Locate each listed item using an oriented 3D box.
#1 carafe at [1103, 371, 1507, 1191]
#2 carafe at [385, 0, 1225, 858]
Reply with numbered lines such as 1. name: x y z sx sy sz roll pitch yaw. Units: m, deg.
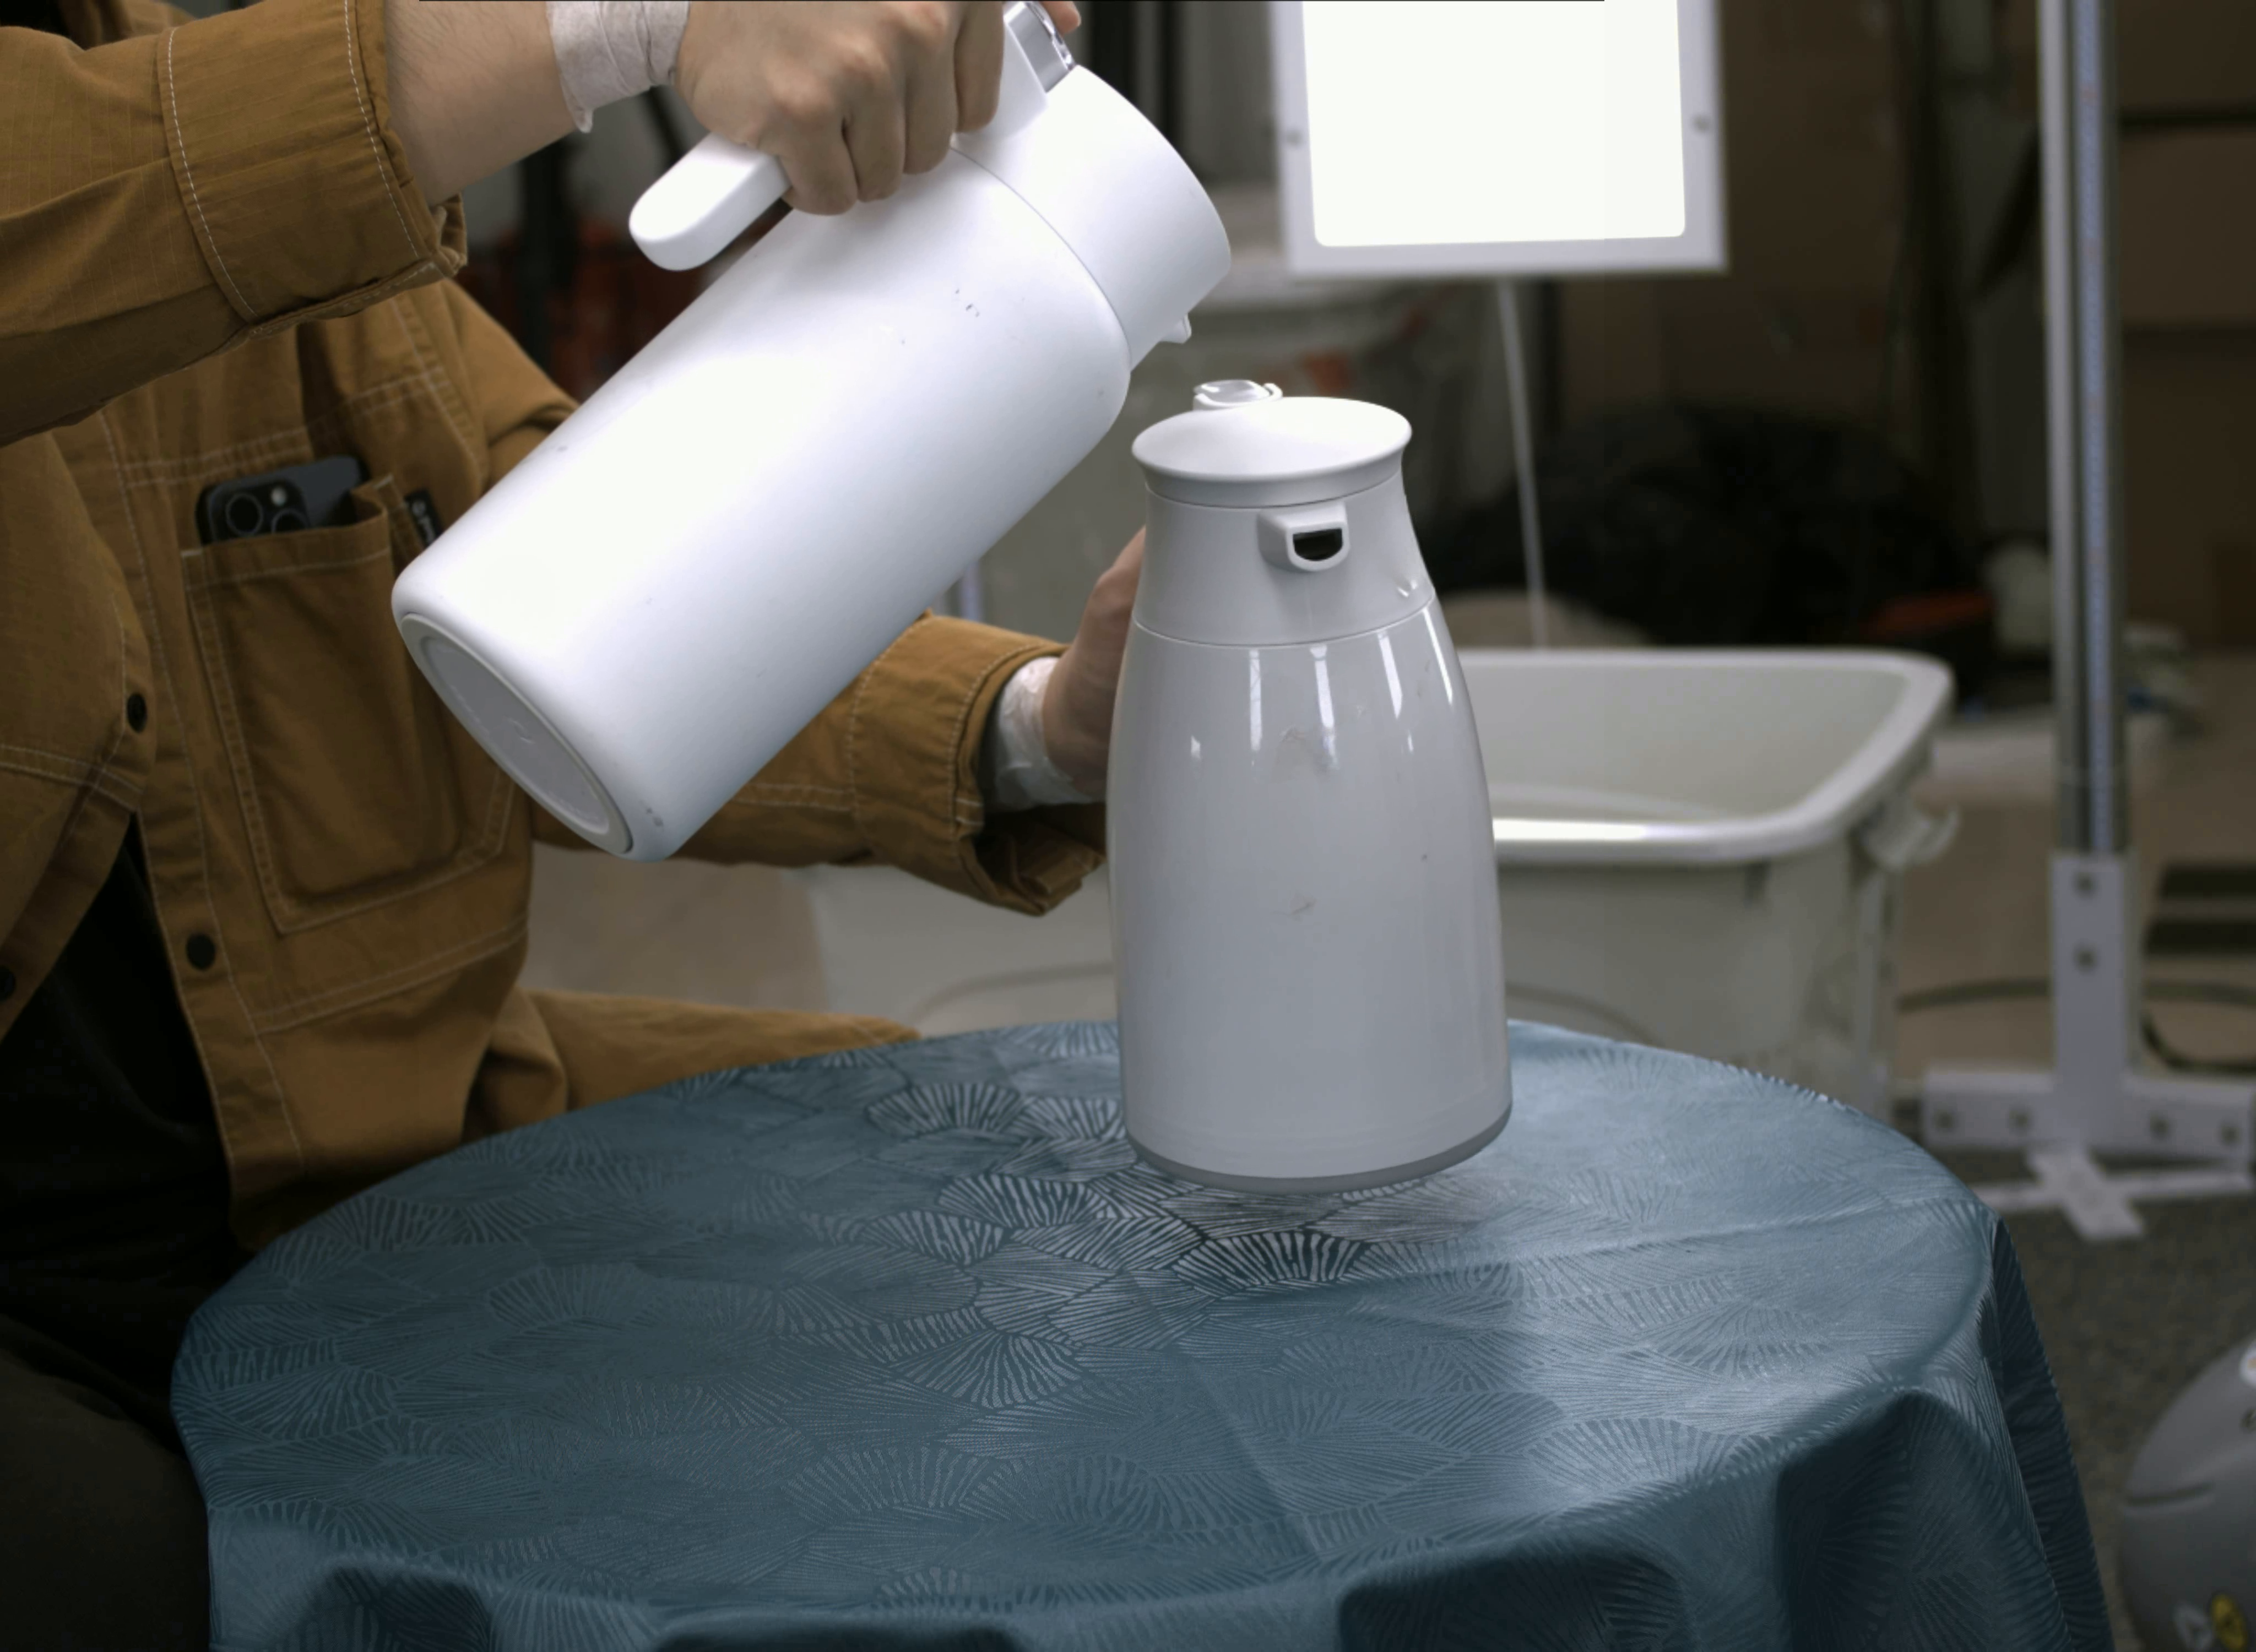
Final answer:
1. carafe: 0.049 -0.024 1.833 0.131 0.249 0.169 -8 19 -9
2. carafe: -0.101 -0.129 1.669 0.266 0.171 0.126 -43 42 -12
